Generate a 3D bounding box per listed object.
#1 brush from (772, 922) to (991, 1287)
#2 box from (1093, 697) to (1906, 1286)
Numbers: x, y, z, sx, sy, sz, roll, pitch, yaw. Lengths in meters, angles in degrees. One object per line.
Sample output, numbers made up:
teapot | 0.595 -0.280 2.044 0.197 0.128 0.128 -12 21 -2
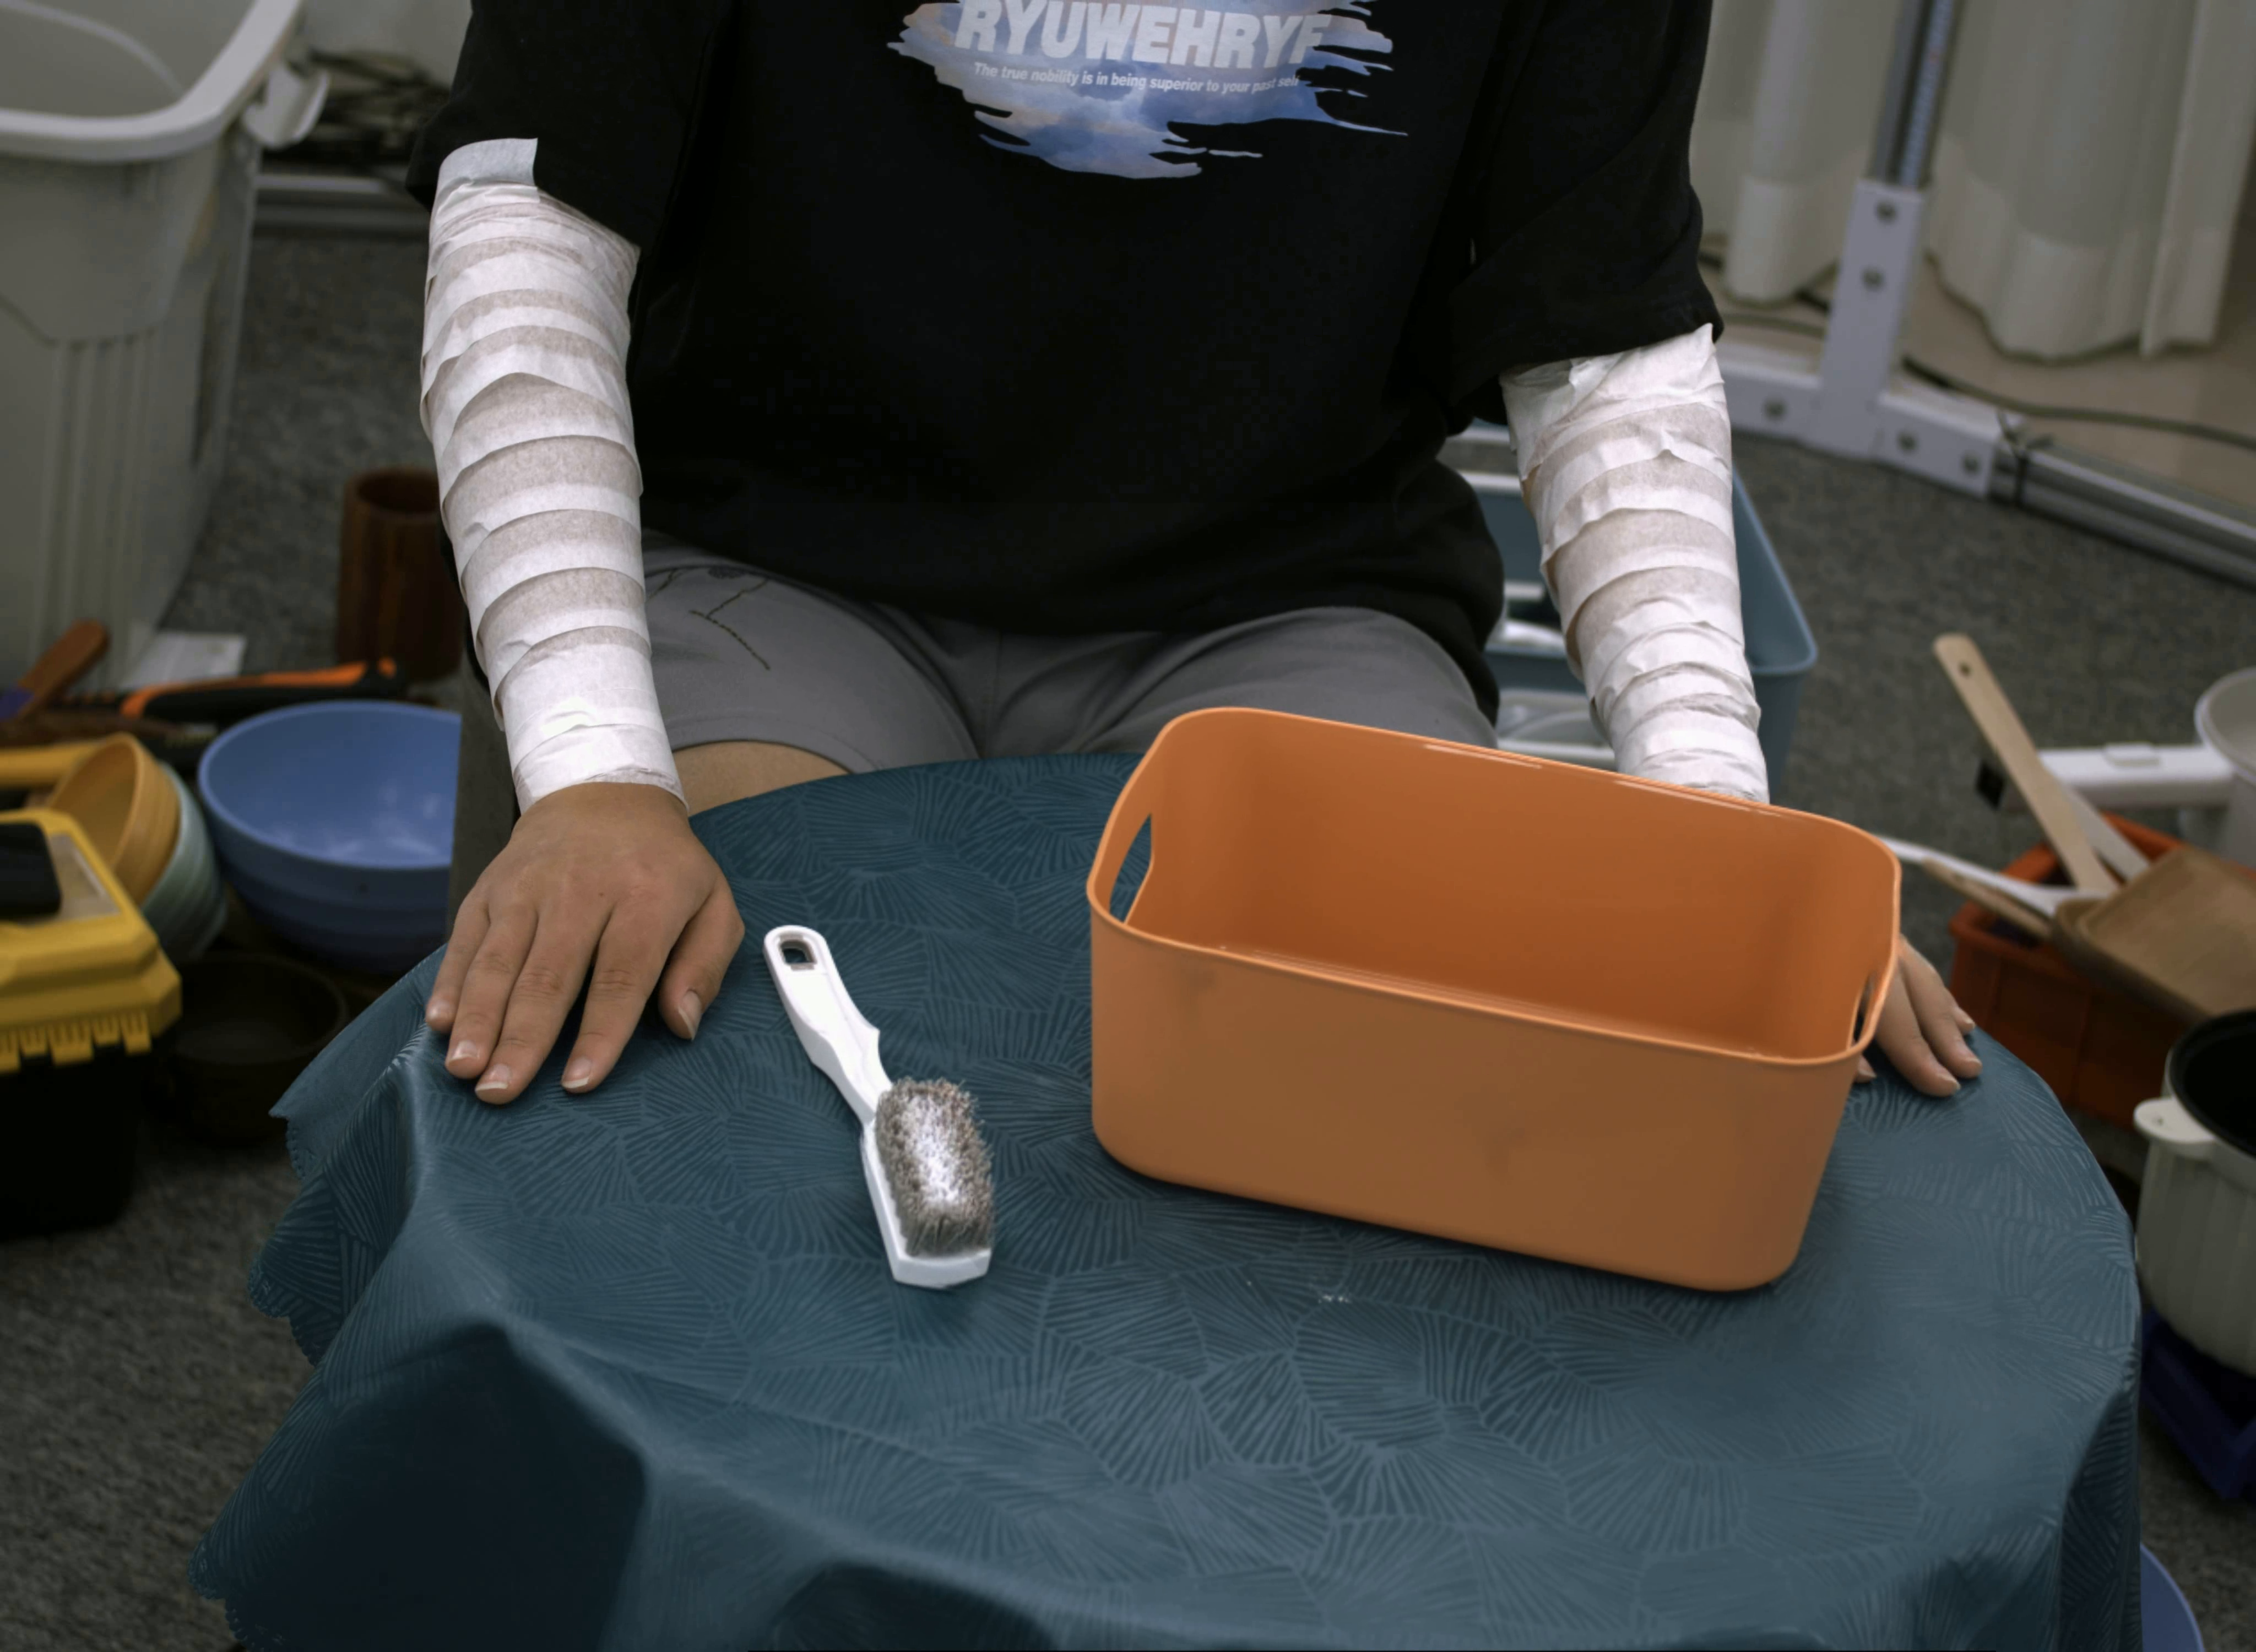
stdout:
brush | -0.088 0.077 1.820 0.034 0.050 0.246 -2 28 -15
box | 0.124 0.057 1.844 0.273 0.102 0.200 11 28 8
